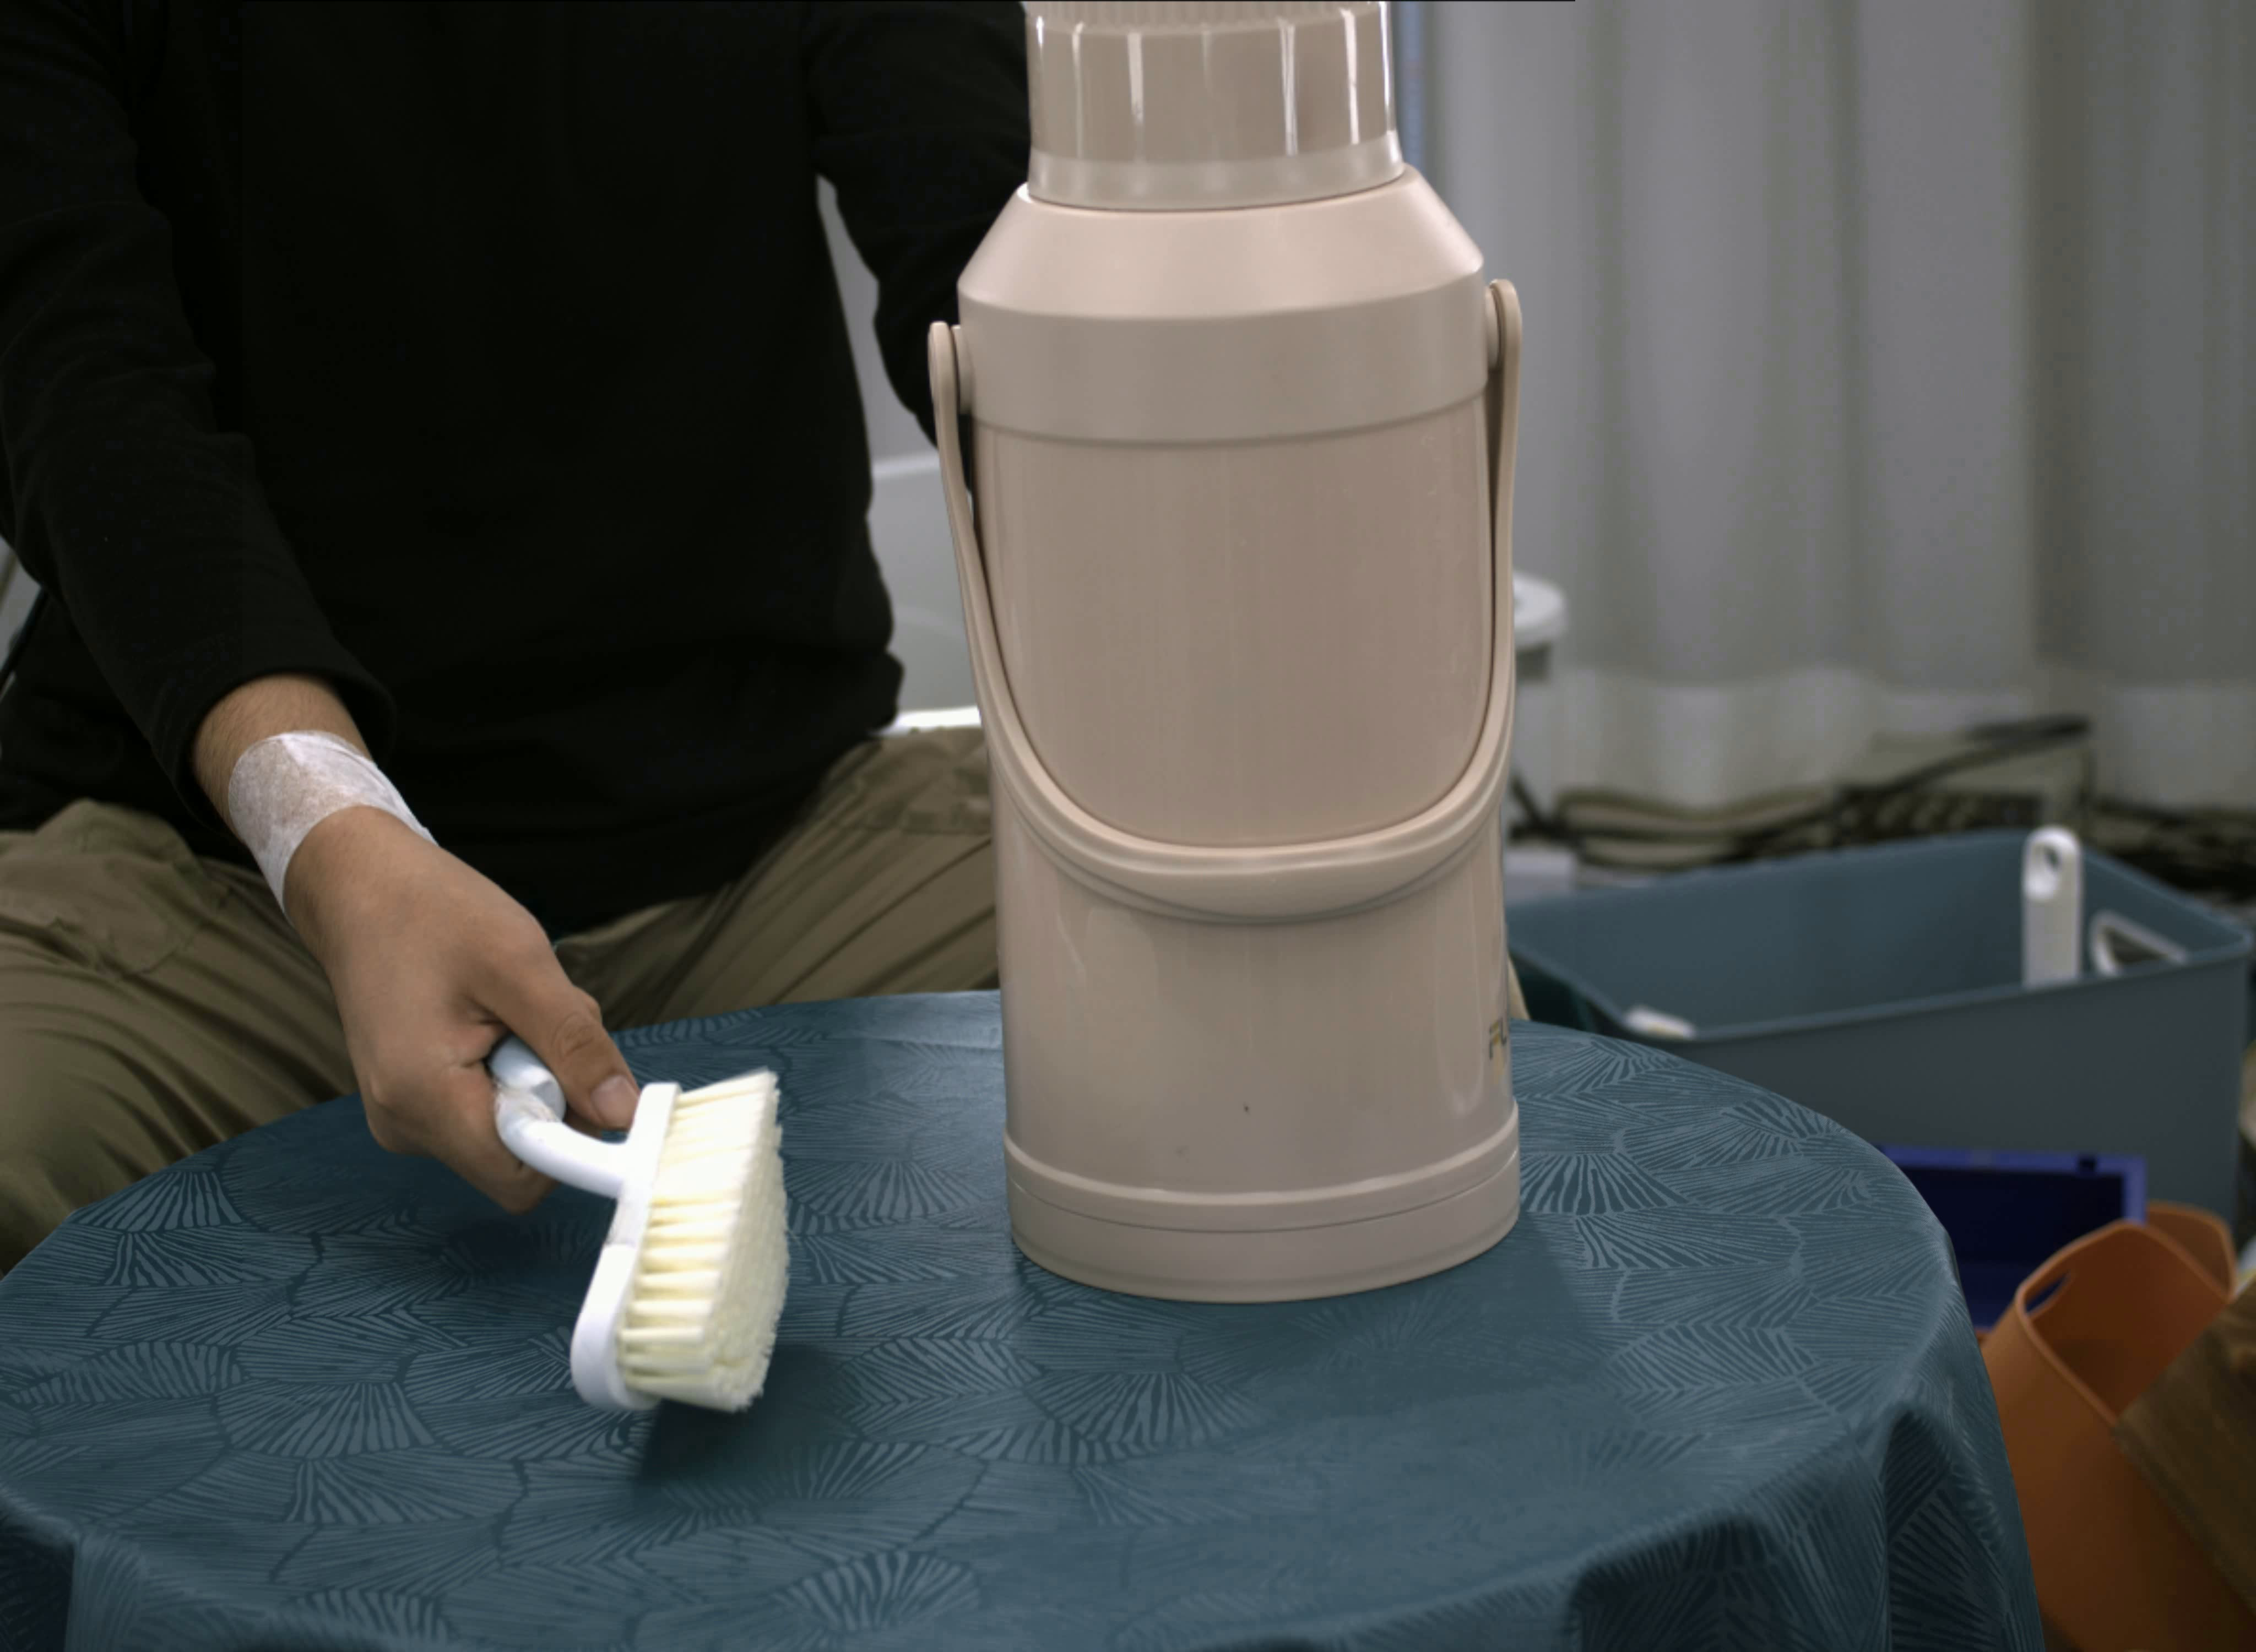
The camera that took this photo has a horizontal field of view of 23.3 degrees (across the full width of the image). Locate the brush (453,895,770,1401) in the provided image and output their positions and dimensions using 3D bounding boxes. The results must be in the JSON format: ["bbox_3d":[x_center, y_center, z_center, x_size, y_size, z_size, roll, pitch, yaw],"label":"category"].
[{"bbox_3d":[-0.142,0.081,1.635,0.084,0.083,0.329,31,12,-19],"label":"brush"}]

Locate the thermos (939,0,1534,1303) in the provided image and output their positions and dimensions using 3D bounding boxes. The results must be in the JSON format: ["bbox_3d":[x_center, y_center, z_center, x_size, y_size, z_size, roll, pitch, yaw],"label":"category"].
[{"bbox_3d":[0.035,-0.075,1.653,0.174,0.405,0.208,-6,14,-7],"label":"thermos"}]
